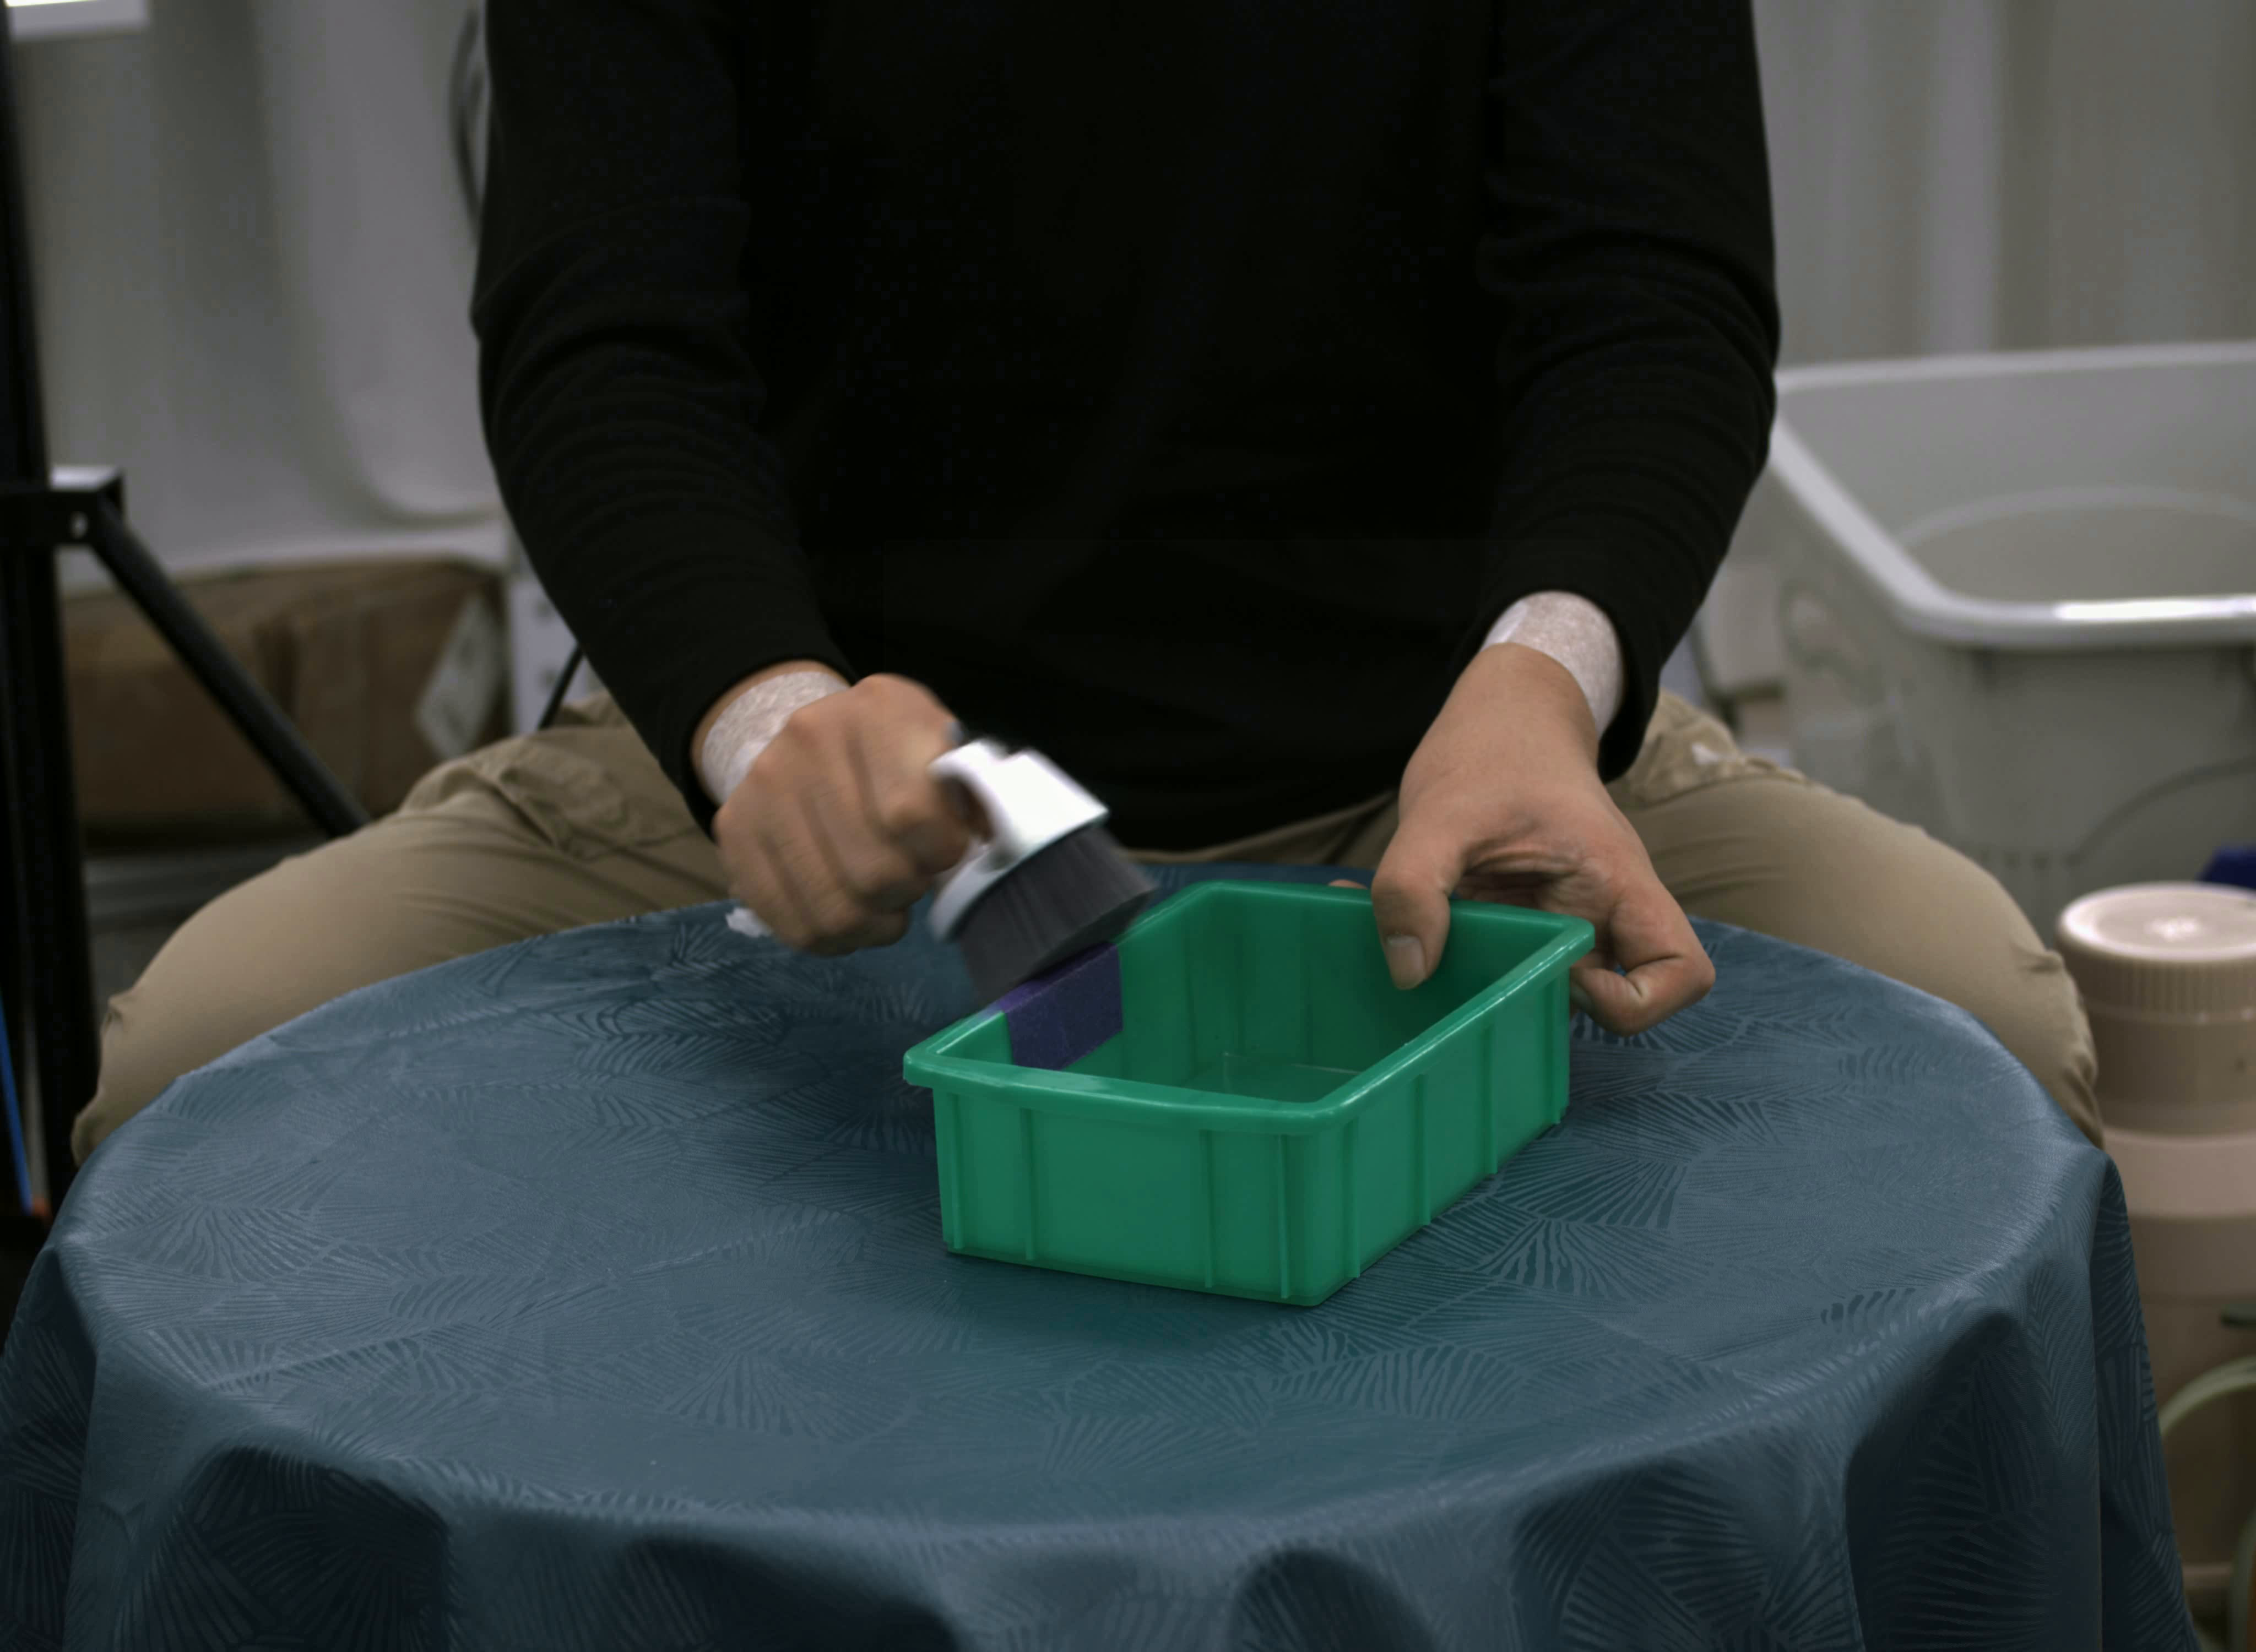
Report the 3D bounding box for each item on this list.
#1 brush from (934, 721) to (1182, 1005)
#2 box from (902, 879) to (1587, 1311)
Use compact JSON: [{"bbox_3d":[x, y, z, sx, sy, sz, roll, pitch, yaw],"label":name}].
[{"bbox_3d":[-0.029,0.006,1.601,0.049,0.073,0.099,-32,-8,-20],"label":"brush"},{"bbox_3d":[0.039,0.077,1.547,0.141,0.065,0.207,3,18,27],"label":"box"}]
